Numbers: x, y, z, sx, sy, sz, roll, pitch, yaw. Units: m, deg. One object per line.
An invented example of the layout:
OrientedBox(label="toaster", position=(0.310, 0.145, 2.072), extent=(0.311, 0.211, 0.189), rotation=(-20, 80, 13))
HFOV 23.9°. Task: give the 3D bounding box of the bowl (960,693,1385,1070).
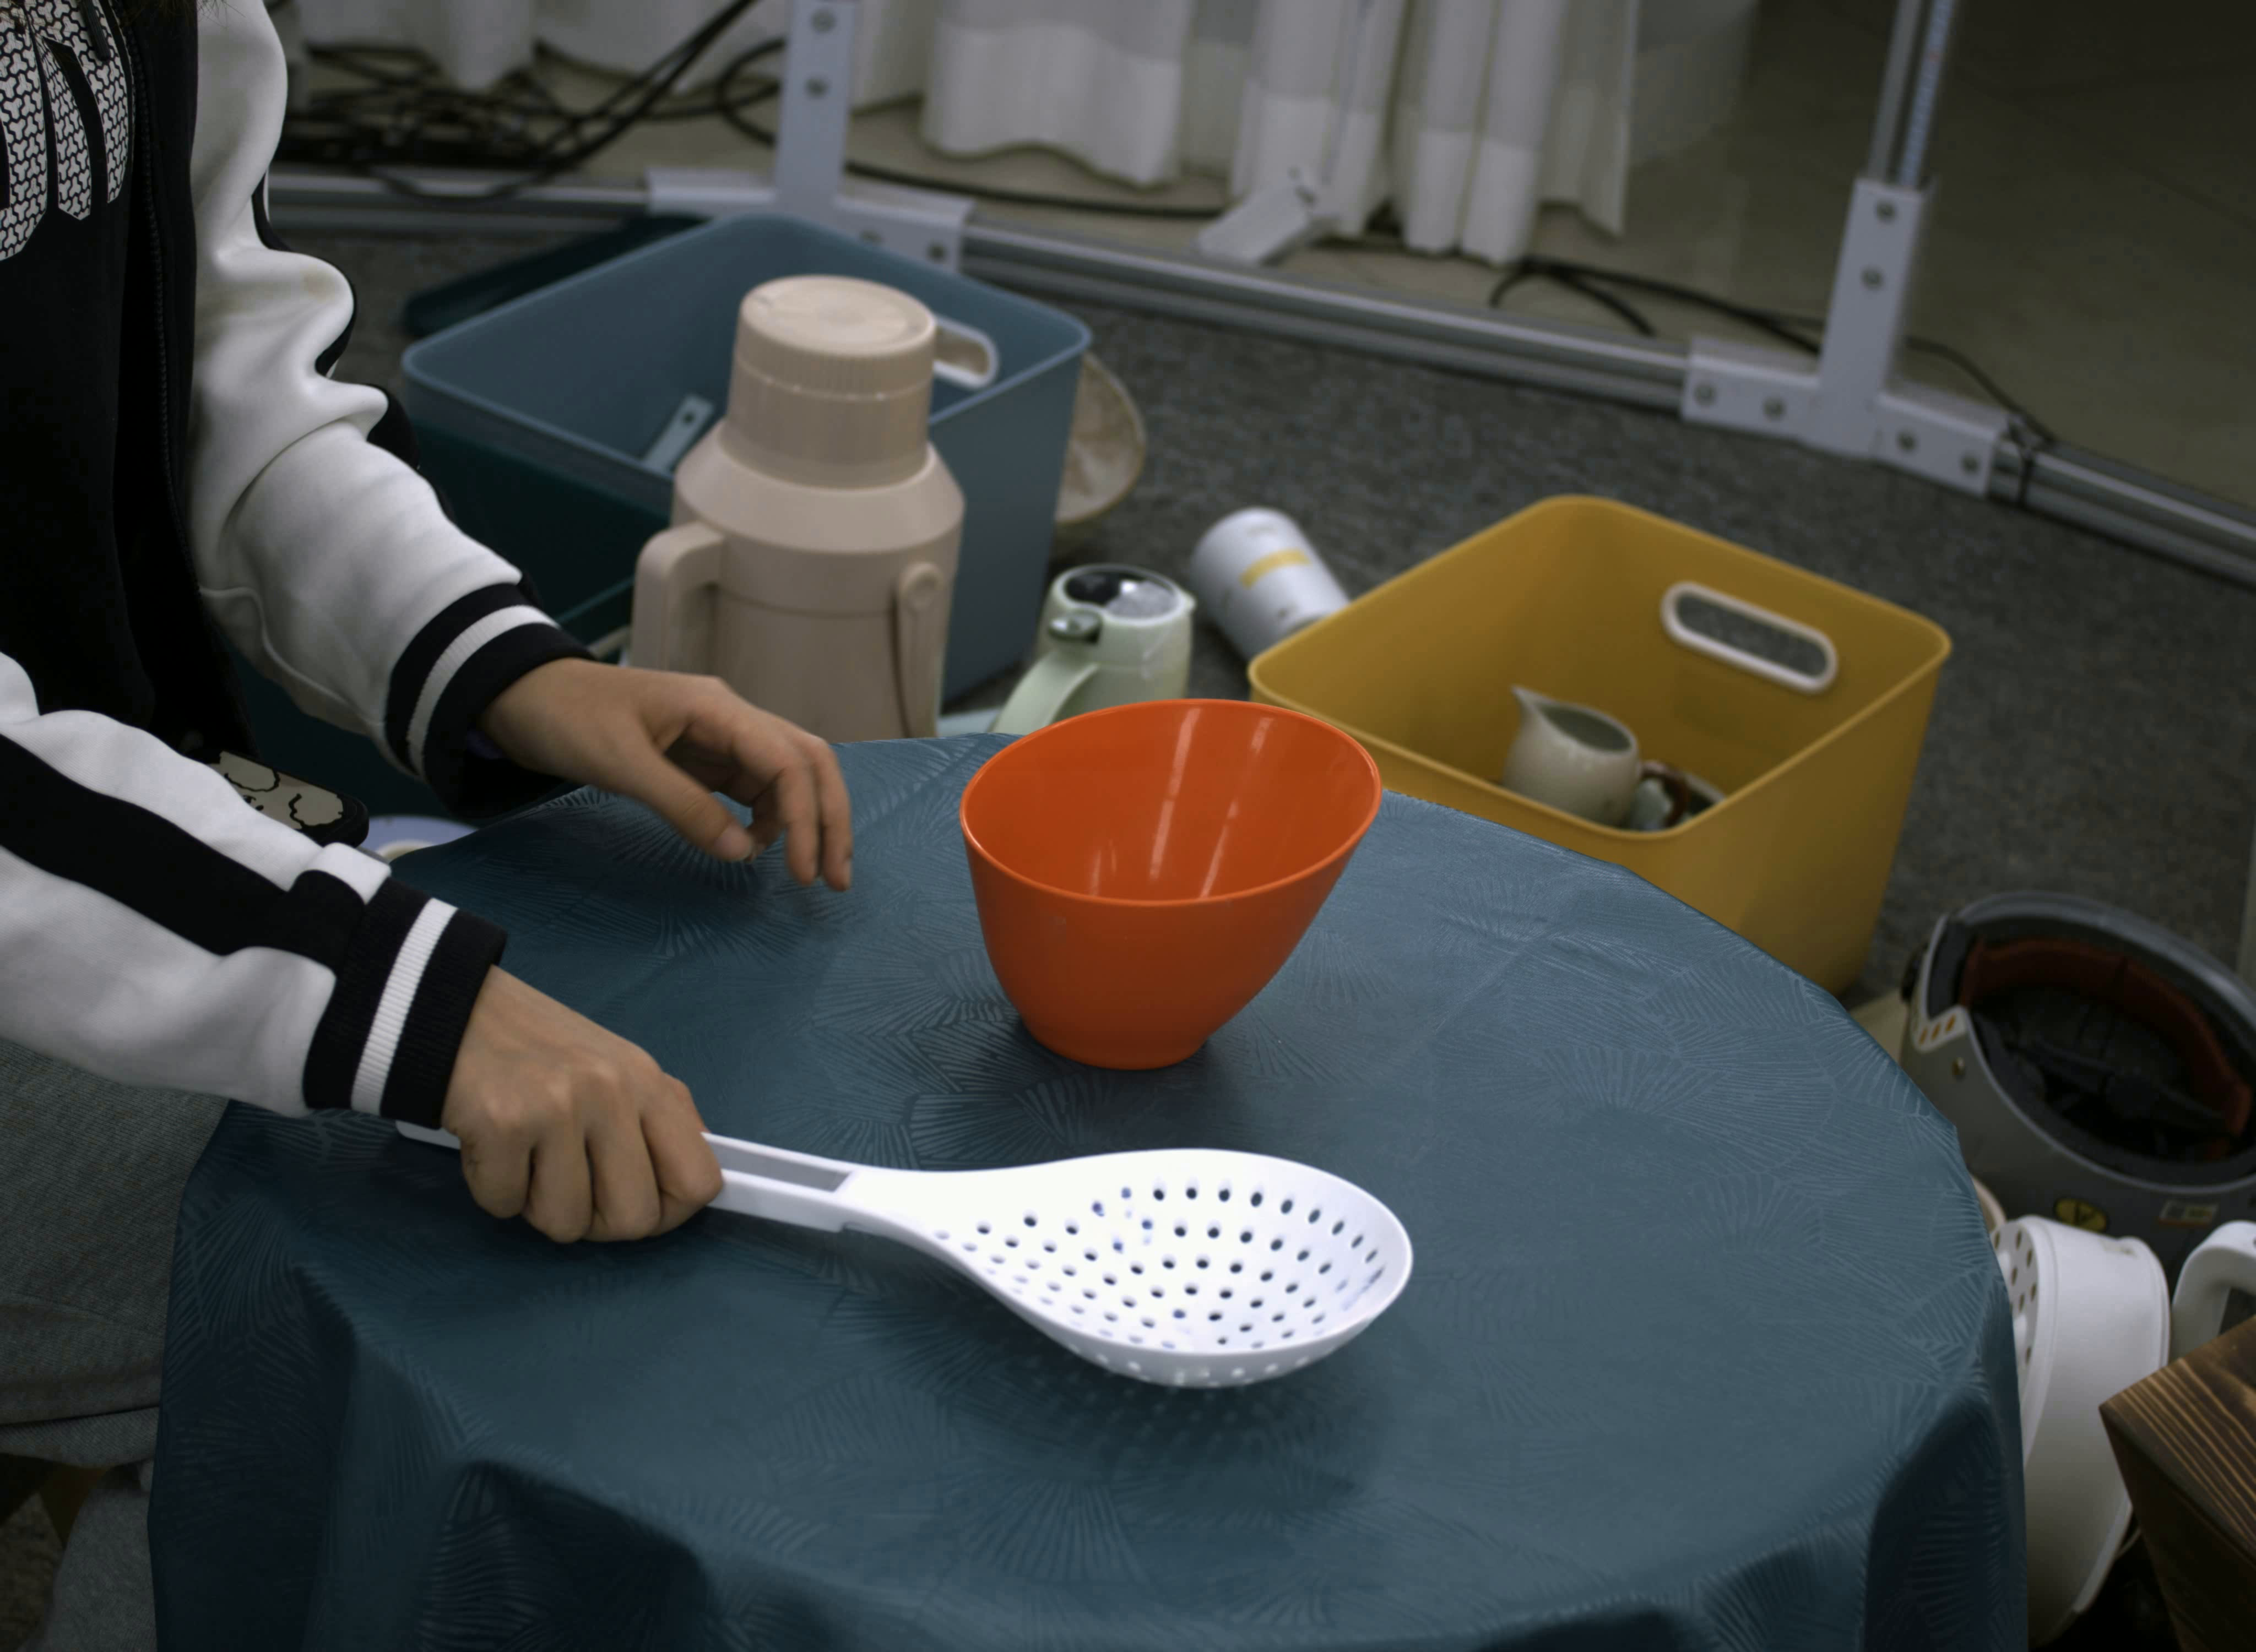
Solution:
OrientedBox(label="bowl", position=(0.012, 0.026, 1.883), extent=(0.147, 0.104, 0.149), rotation=(5, 30, -3))

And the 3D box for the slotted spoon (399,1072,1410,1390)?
OrientedBox(label="slotted spoon", position=(-0.079, 0.124, 1.735), extent=(0.350, 0.045, 0.136), rotation=(15, 25, 17))
